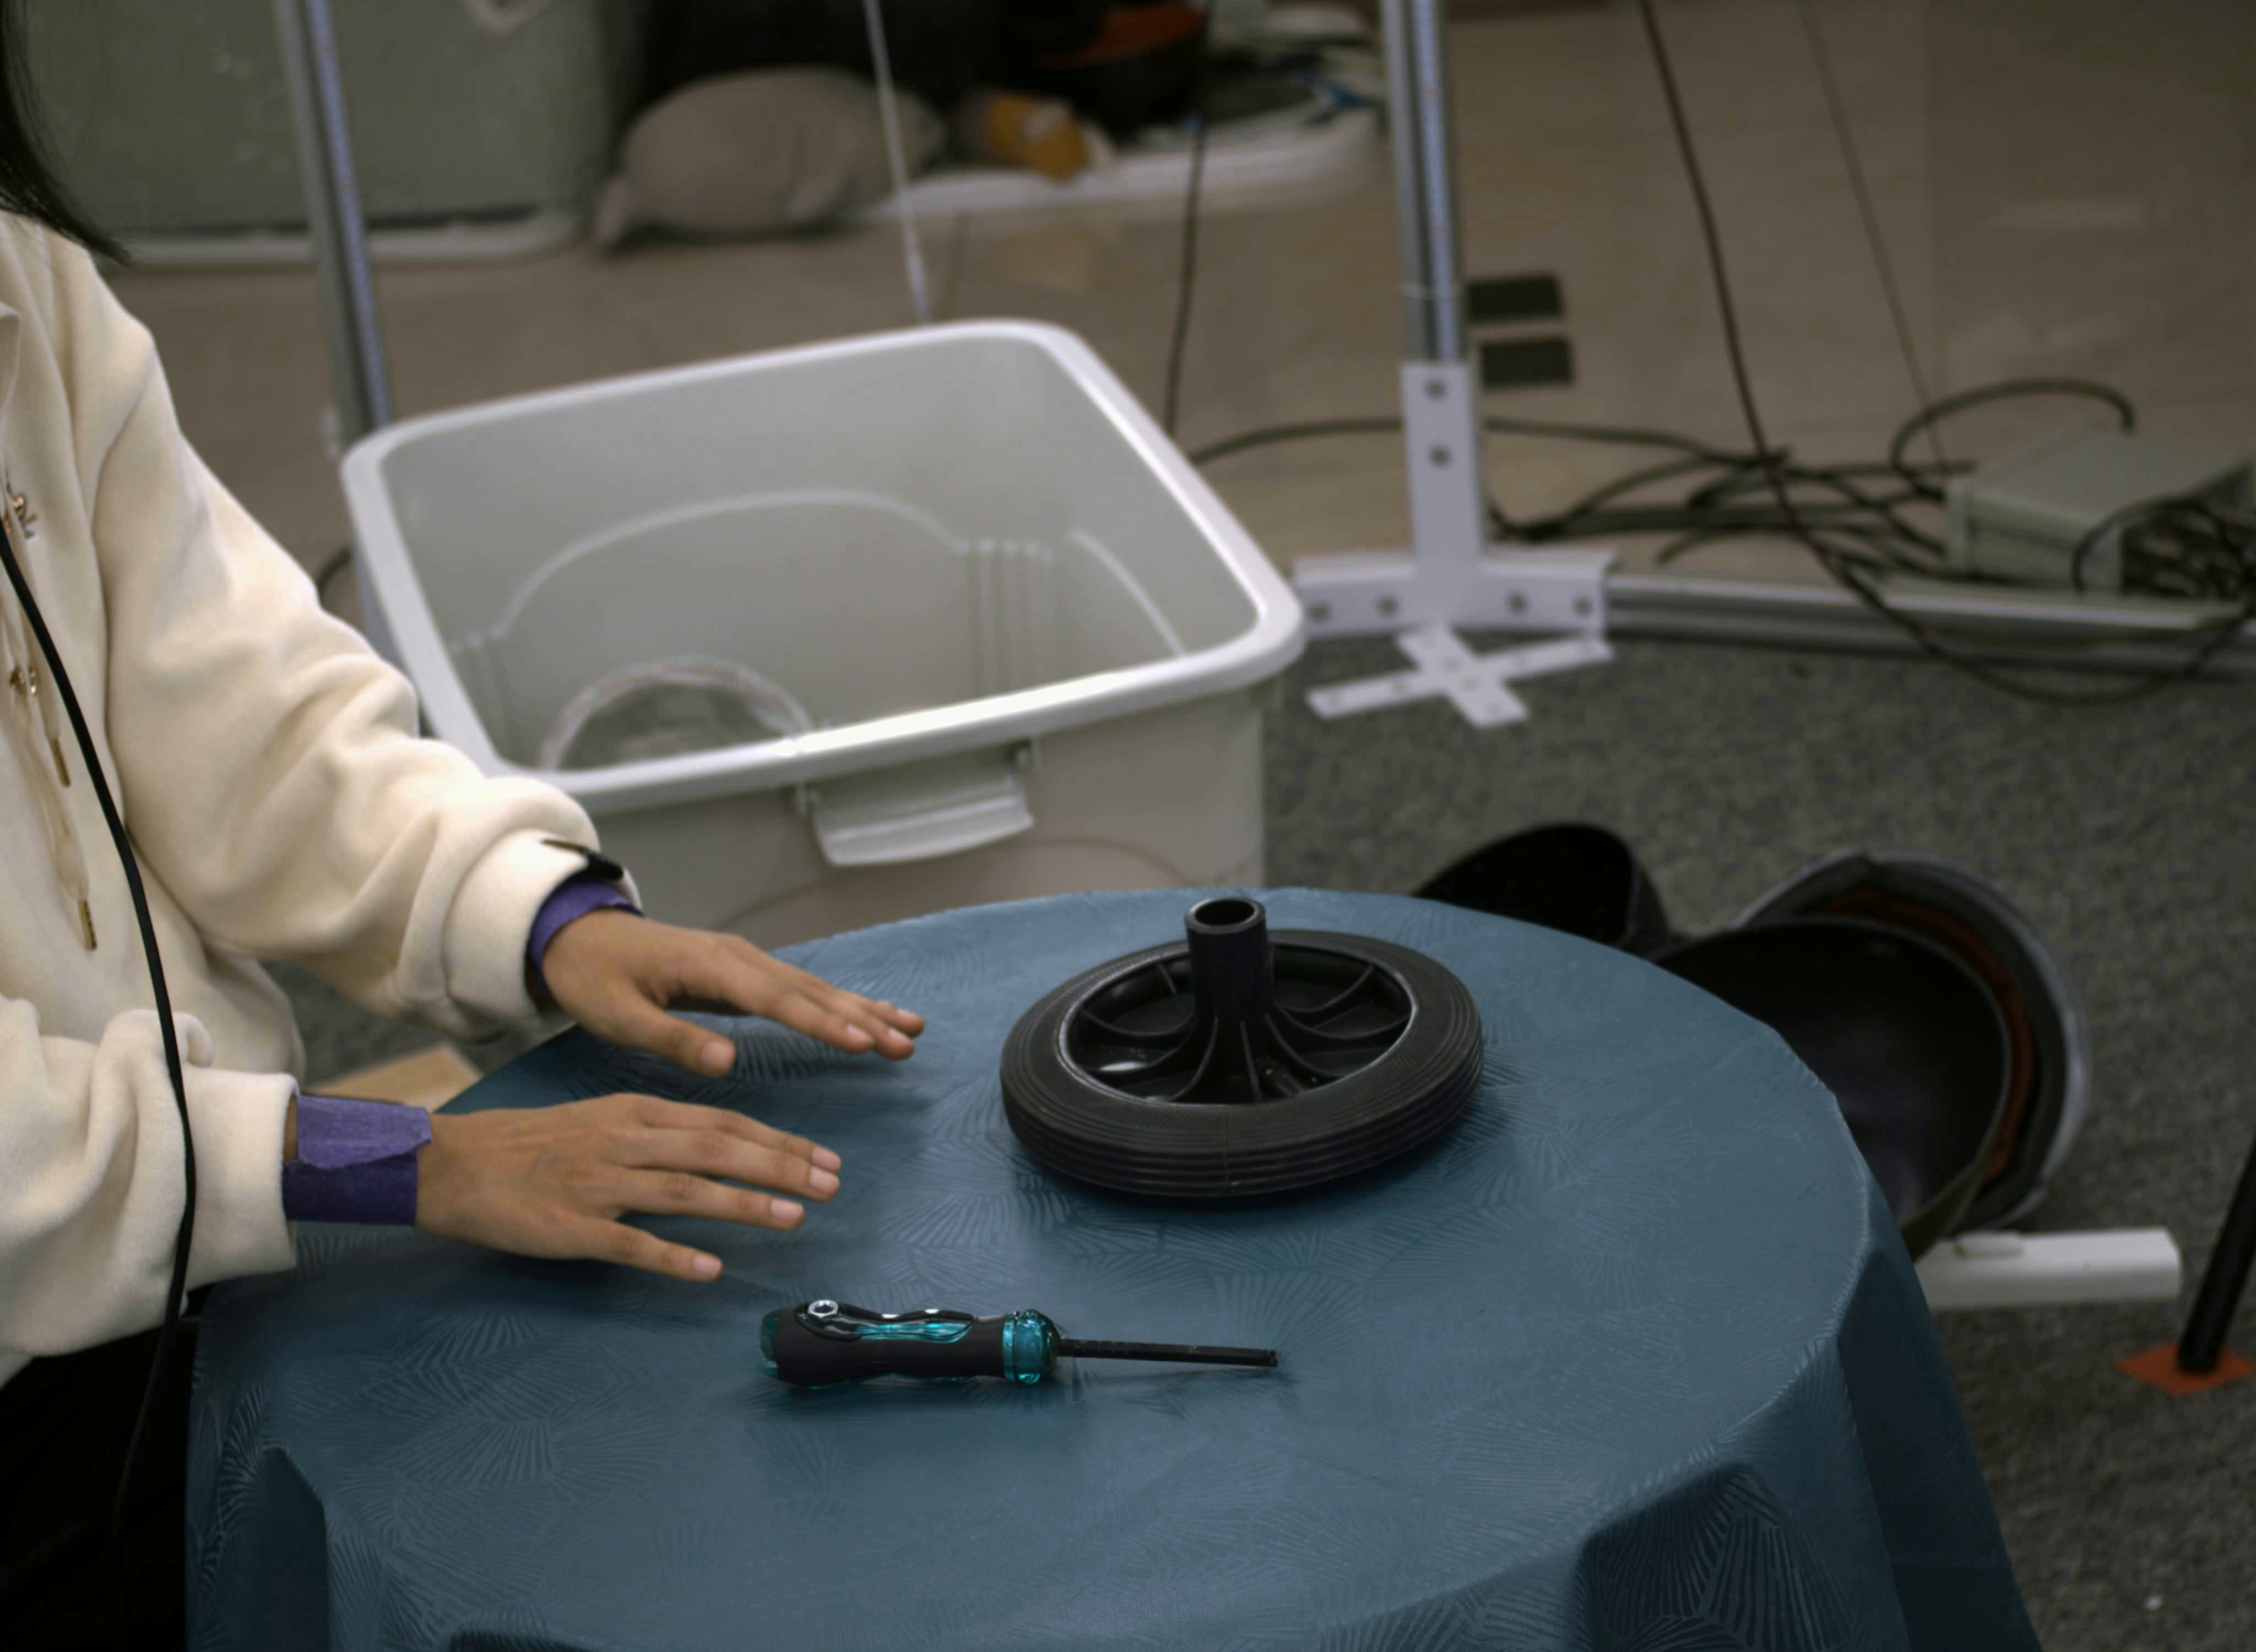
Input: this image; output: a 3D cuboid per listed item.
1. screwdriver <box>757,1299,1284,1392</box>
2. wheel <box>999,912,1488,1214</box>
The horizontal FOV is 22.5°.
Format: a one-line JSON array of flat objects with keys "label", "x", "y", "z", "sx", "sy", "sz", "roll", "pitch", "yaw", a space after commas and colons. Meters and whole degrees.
[{"label": "screwdriver", "x": -0.039, "y": 0.189, "z": 2.027, "sx": 0.189, "sy": 0.034, "sz": 0.033, "roll": 3, "pitch": 26, "yaw": 7}, {"label": "wheel", "x": 0.044, "y": 0.075, "z": 2.185, "sx": 0.188, "sy": 0.080, "sz": 0.185, "roll": 20, "pitch": 36, "yaw": 36}]
